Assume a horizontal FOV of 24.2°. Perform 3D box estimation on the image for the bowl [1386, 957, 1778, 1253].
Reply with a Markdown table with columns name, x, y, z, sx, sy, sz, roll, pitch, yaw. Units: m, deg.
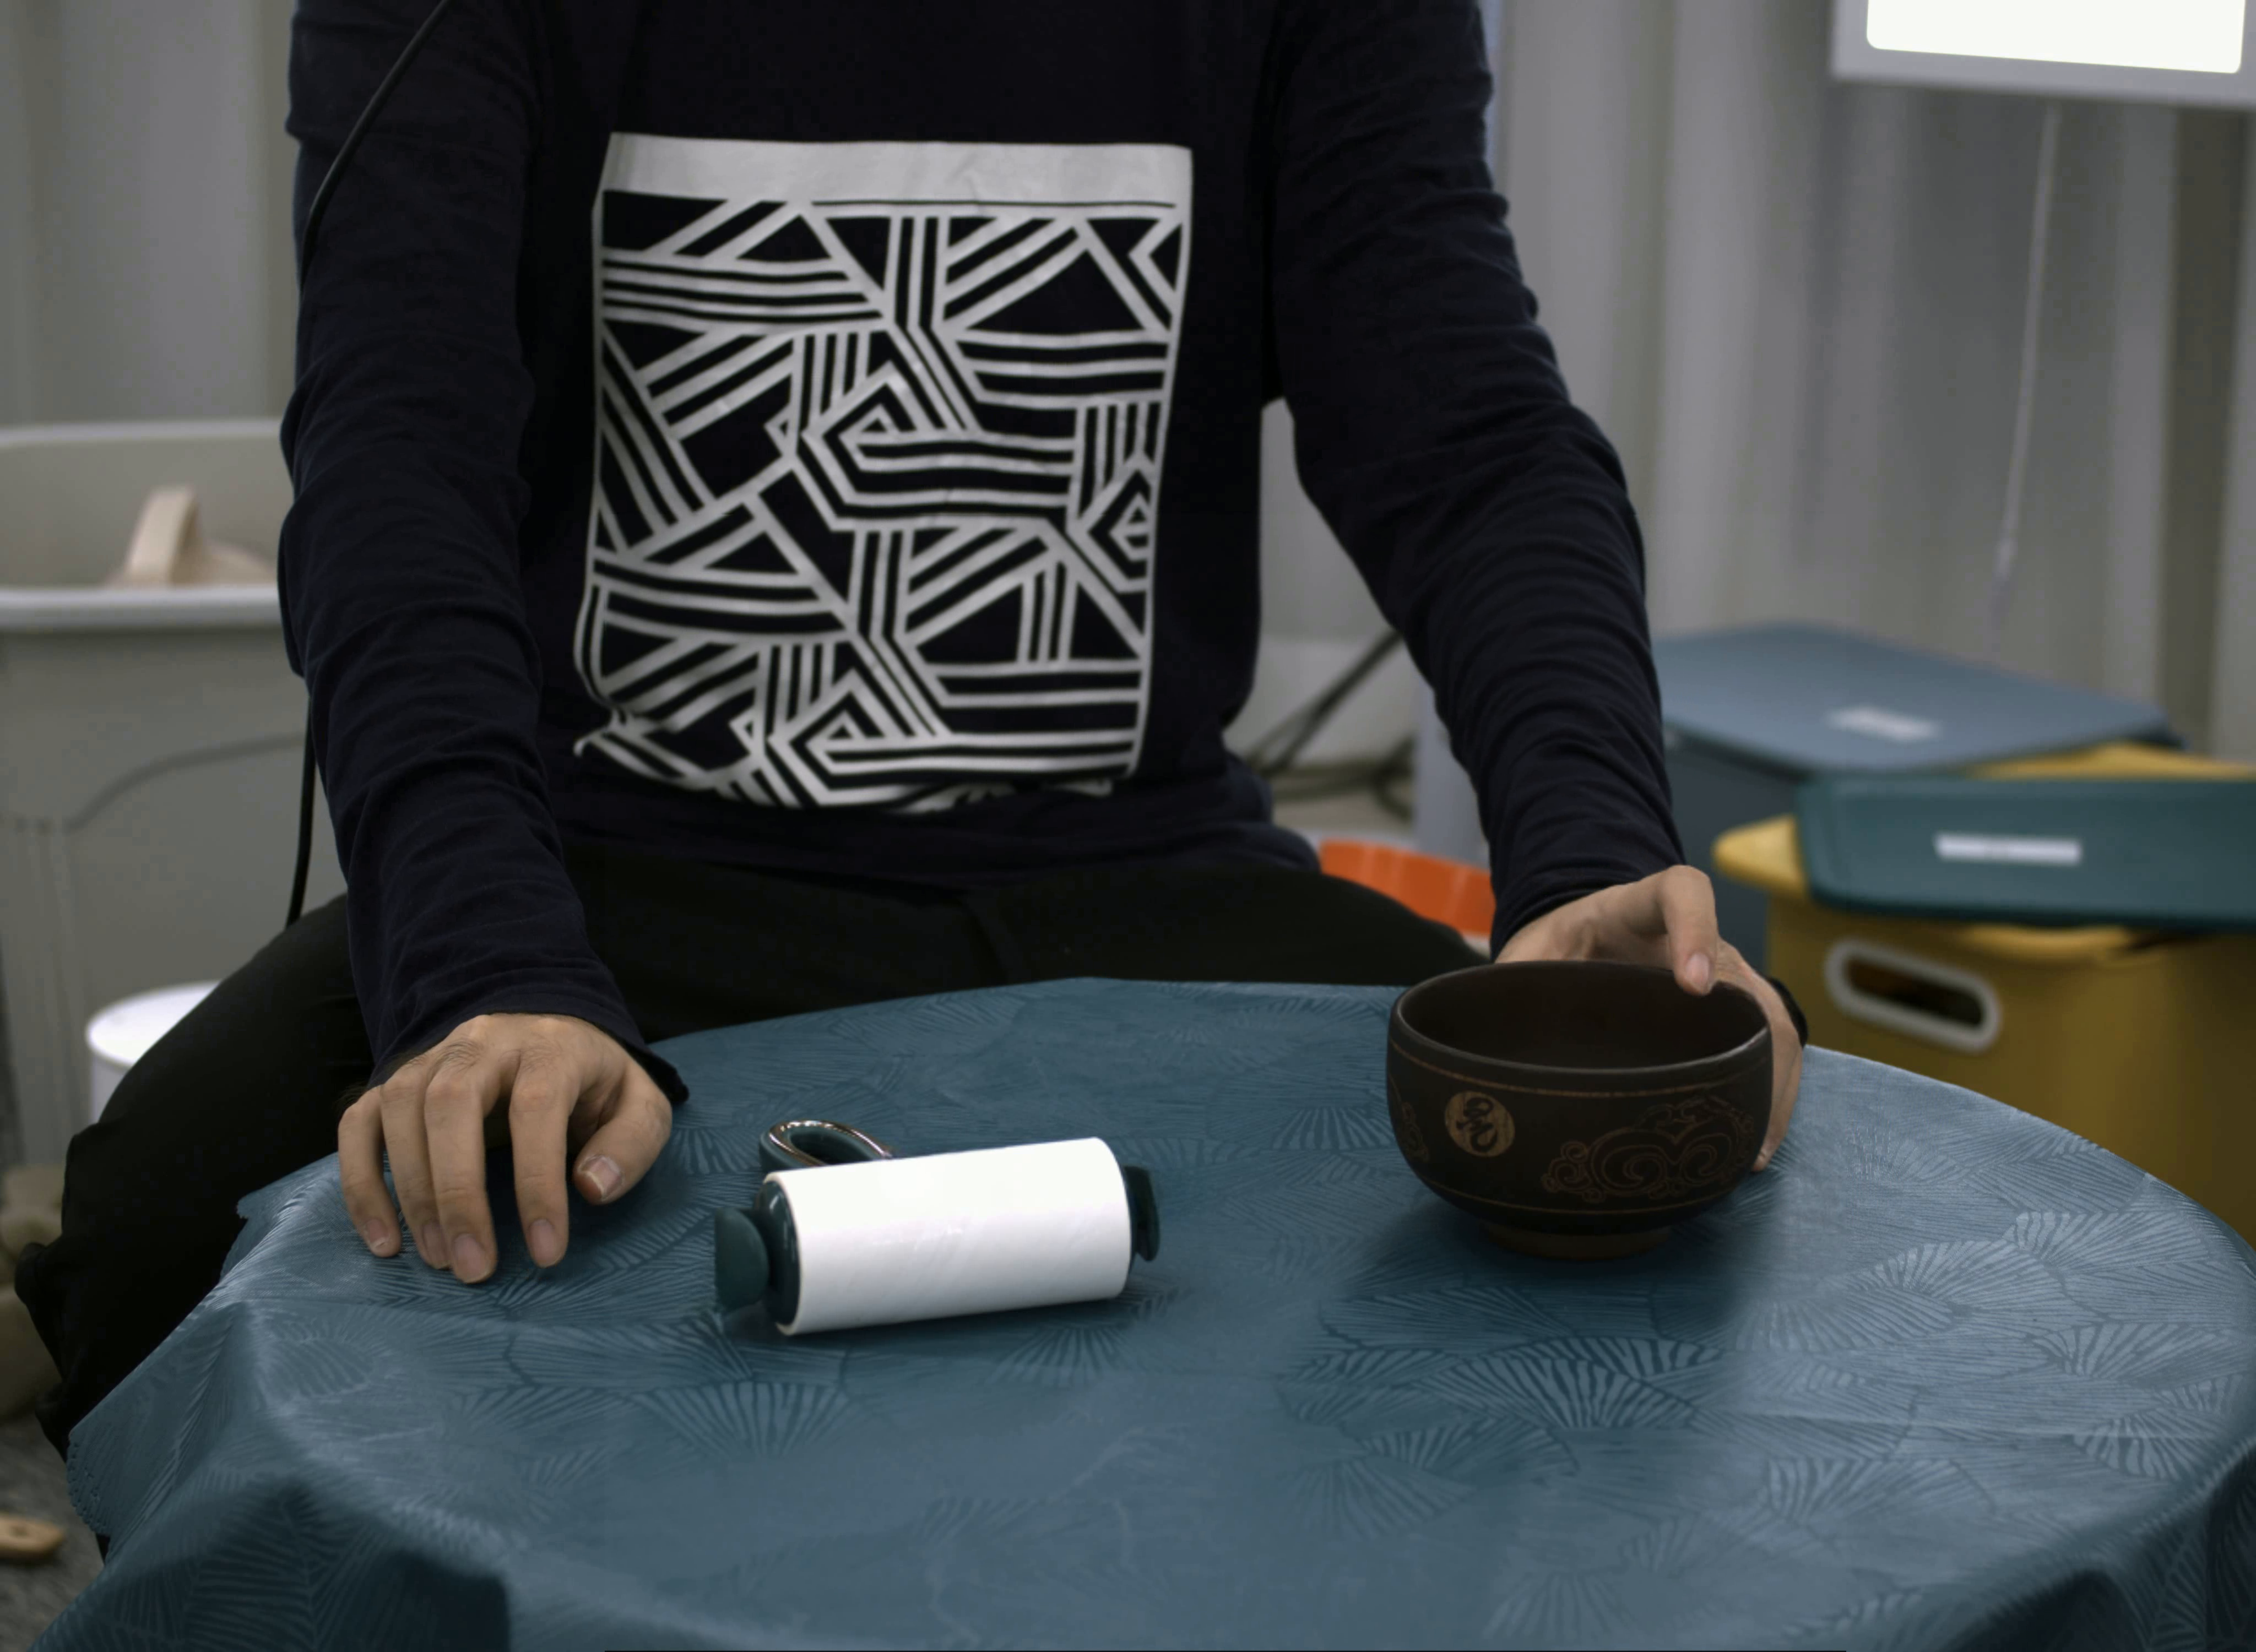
| name | x | y | z | sx | sy | sz | roll | pitch | yaw |
| --- | --- | --- | --- | --- | --- | --- | --- | --- | --- |
| bowl | 0.136 | 0.087 | 1.584 | 0.117 | 0.070 | 0.117 | -1 | 14 | 1 |

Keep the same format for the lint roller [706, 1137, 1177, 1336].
| name | x | y | z | sx | sy | sz | roll | pitch | yaw |
| --- | --- | --- | --- | --- | --- | --- | --- | --- | --- |
| lint roller | -0.077 | 0.104 | 1.575 | 0.134 | 0.048 | 0.178 | -5 | 14 | -20 |
